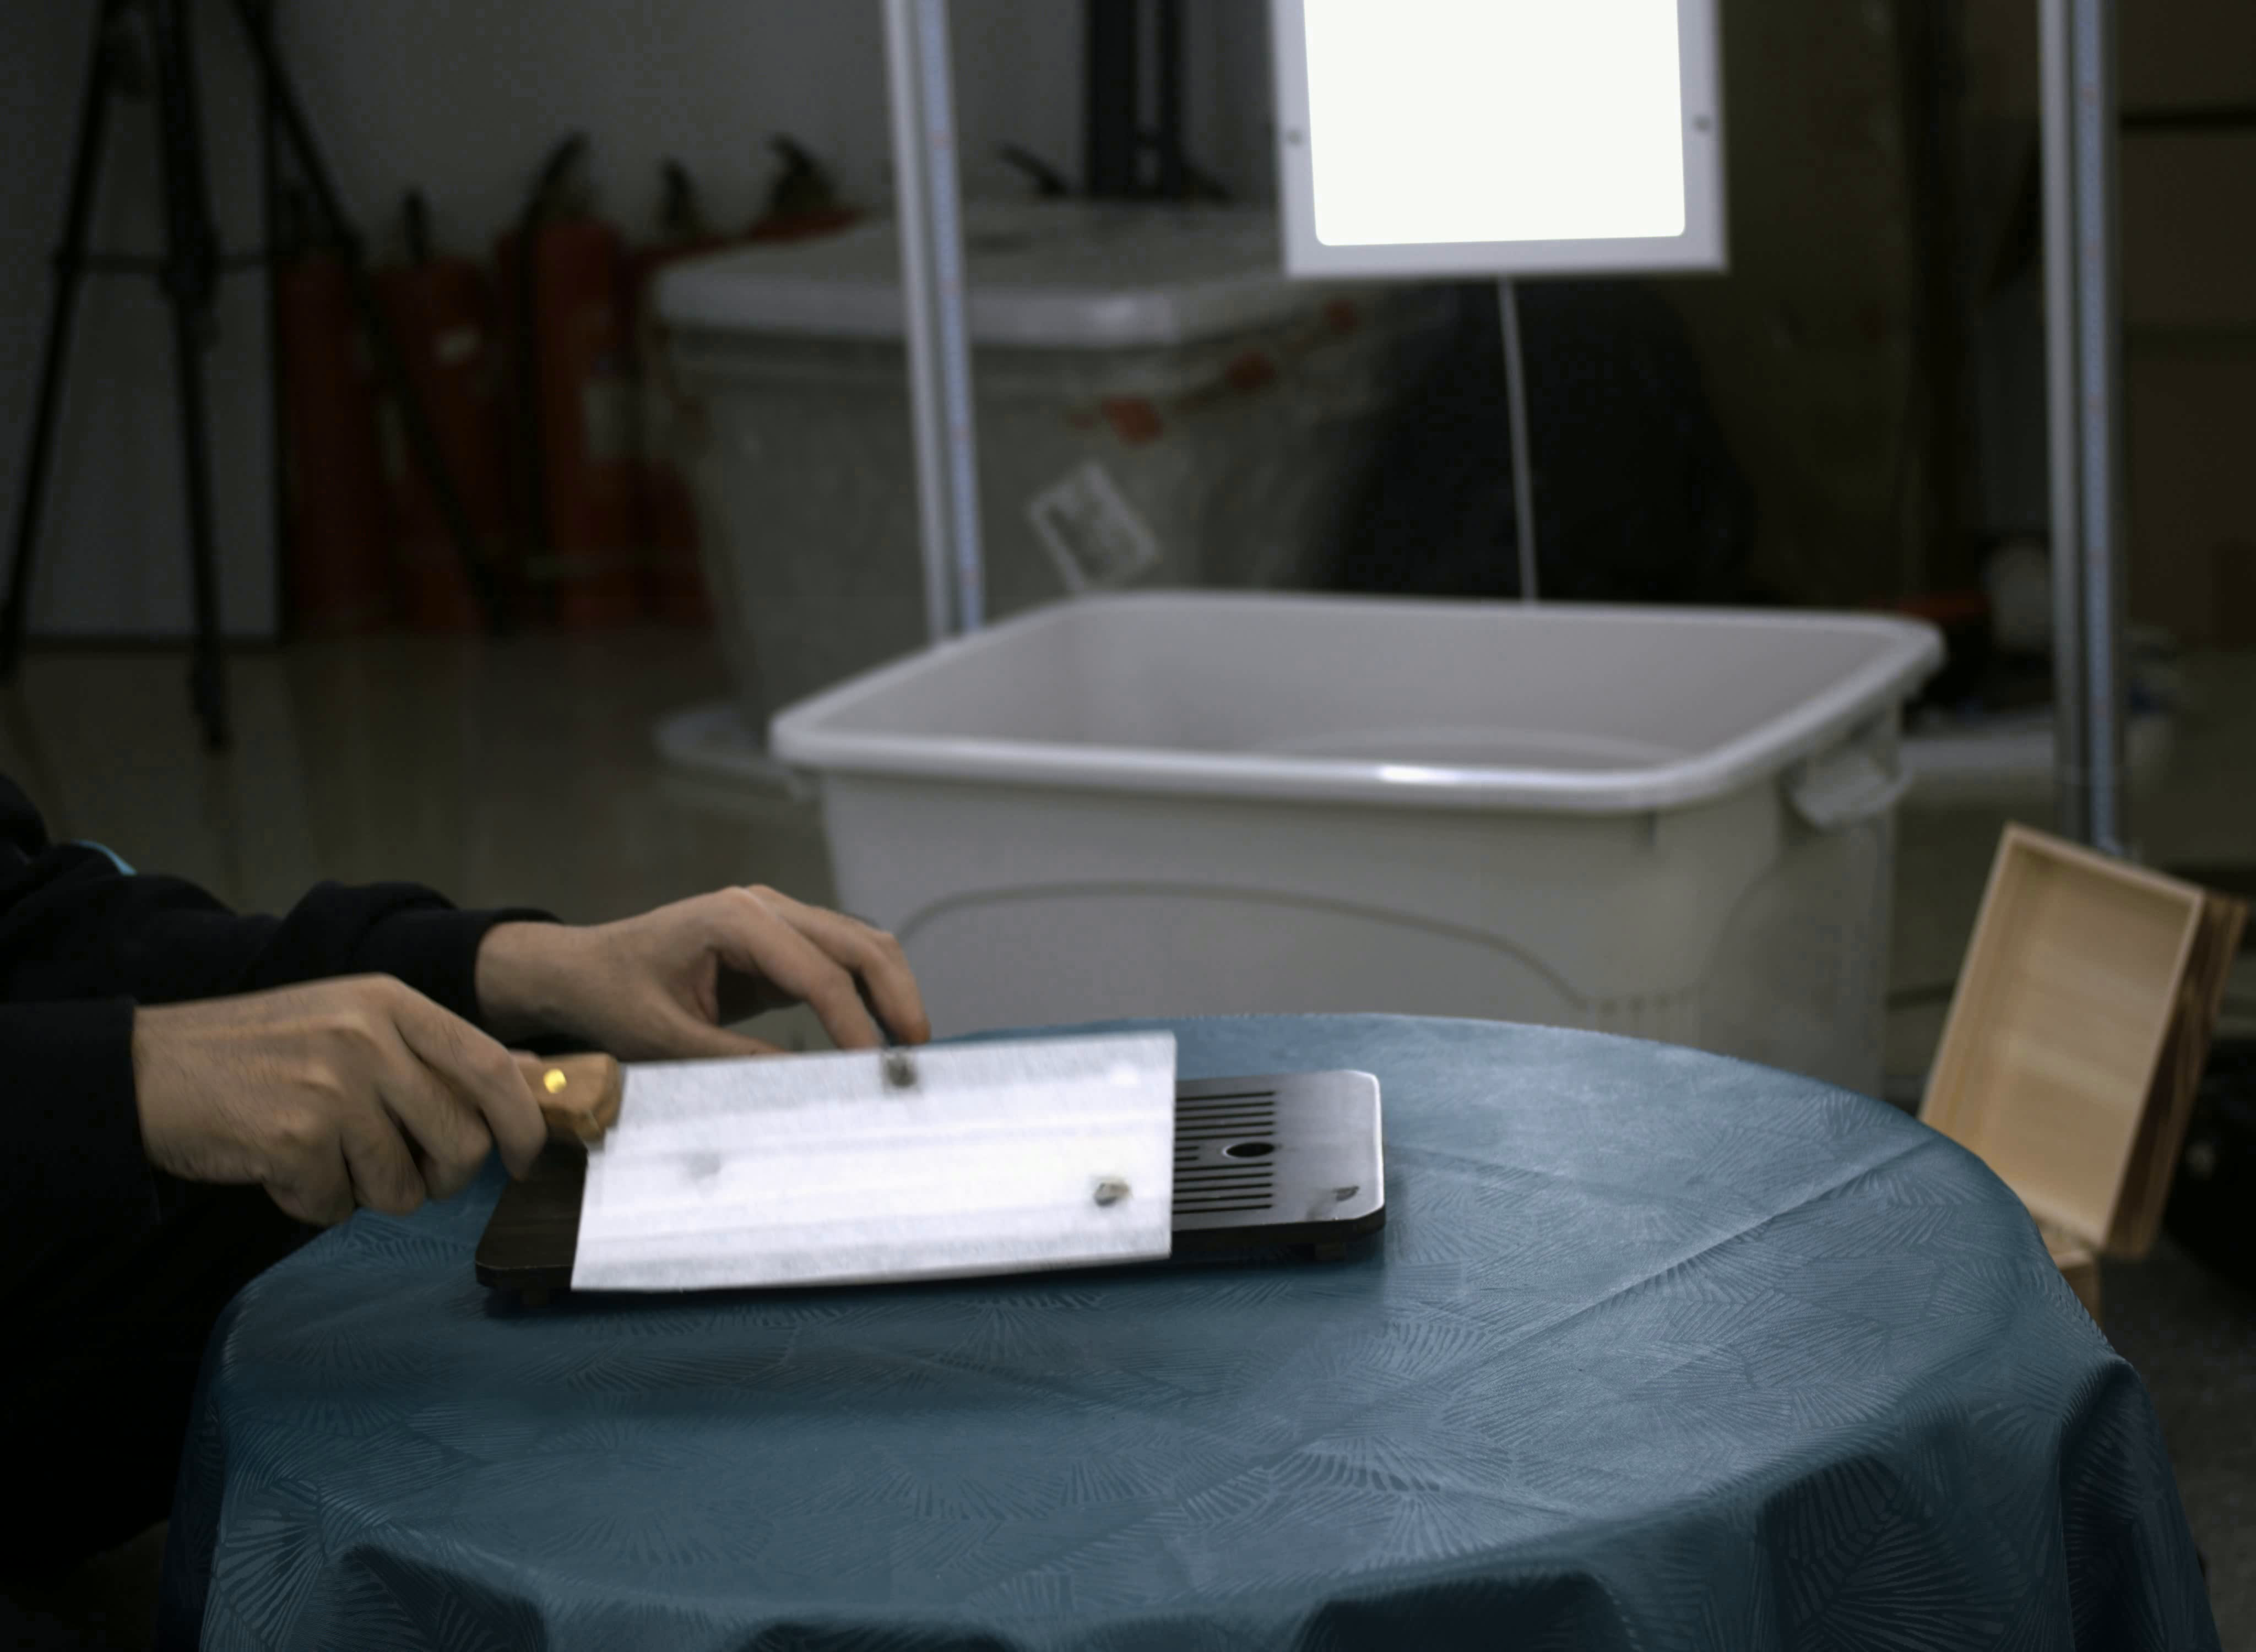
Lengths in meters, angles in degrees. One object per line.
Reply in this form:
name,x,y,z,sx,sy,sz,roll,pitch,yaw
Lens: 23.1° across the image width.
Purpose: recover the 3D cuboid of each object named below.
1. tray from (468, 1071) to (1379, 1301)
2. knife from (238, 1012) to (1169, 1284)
tray,-0.066,0.124,1.895,0.306,0.019,0.169,-4,14,5
knife,-0.138,0.104,1.754,0.307,0.021,0.092,-4,51,9
